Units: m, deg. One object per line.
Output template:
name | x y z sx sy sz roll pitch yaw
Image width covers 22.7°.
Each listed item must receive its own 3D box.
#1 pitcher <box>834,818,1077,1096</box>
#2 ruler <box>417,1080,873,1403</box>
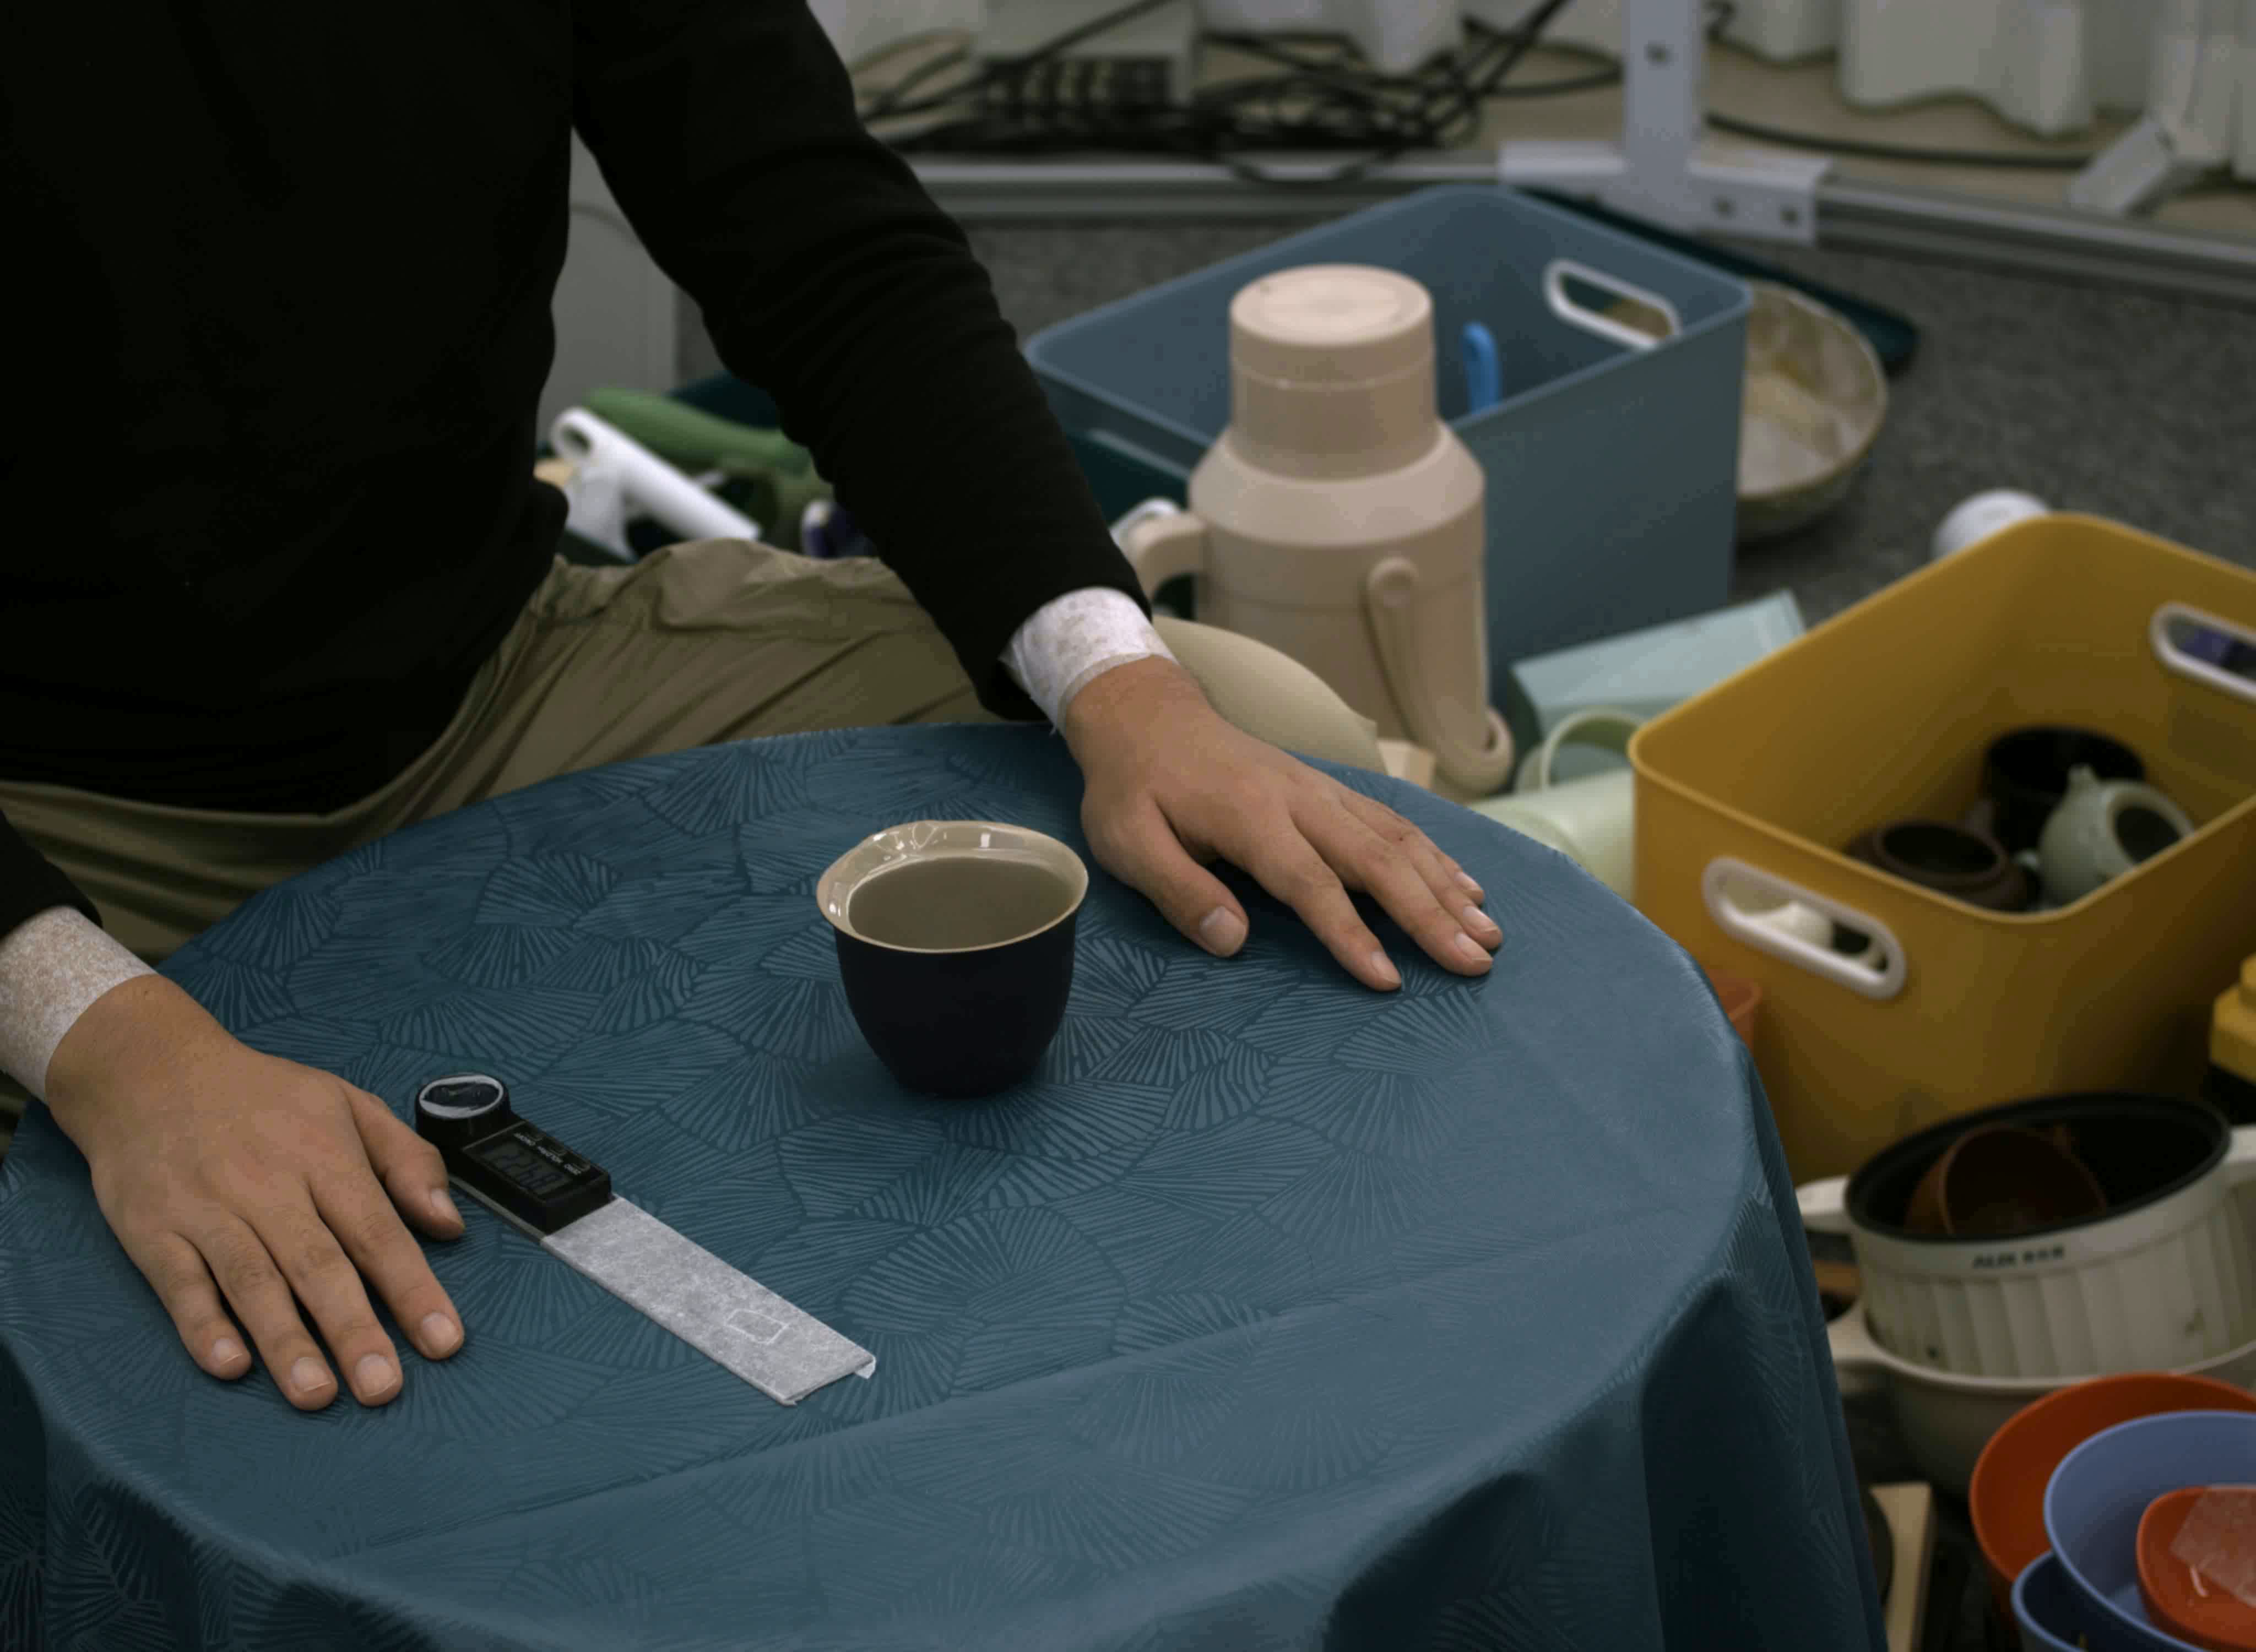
pitcher | -0.060 0.048 1.931 0.084 0.070 0.096 -14 30 -19
ruler | -0.164 0.132 1.833 0.039 0.024 0.218 -29 36 -30
